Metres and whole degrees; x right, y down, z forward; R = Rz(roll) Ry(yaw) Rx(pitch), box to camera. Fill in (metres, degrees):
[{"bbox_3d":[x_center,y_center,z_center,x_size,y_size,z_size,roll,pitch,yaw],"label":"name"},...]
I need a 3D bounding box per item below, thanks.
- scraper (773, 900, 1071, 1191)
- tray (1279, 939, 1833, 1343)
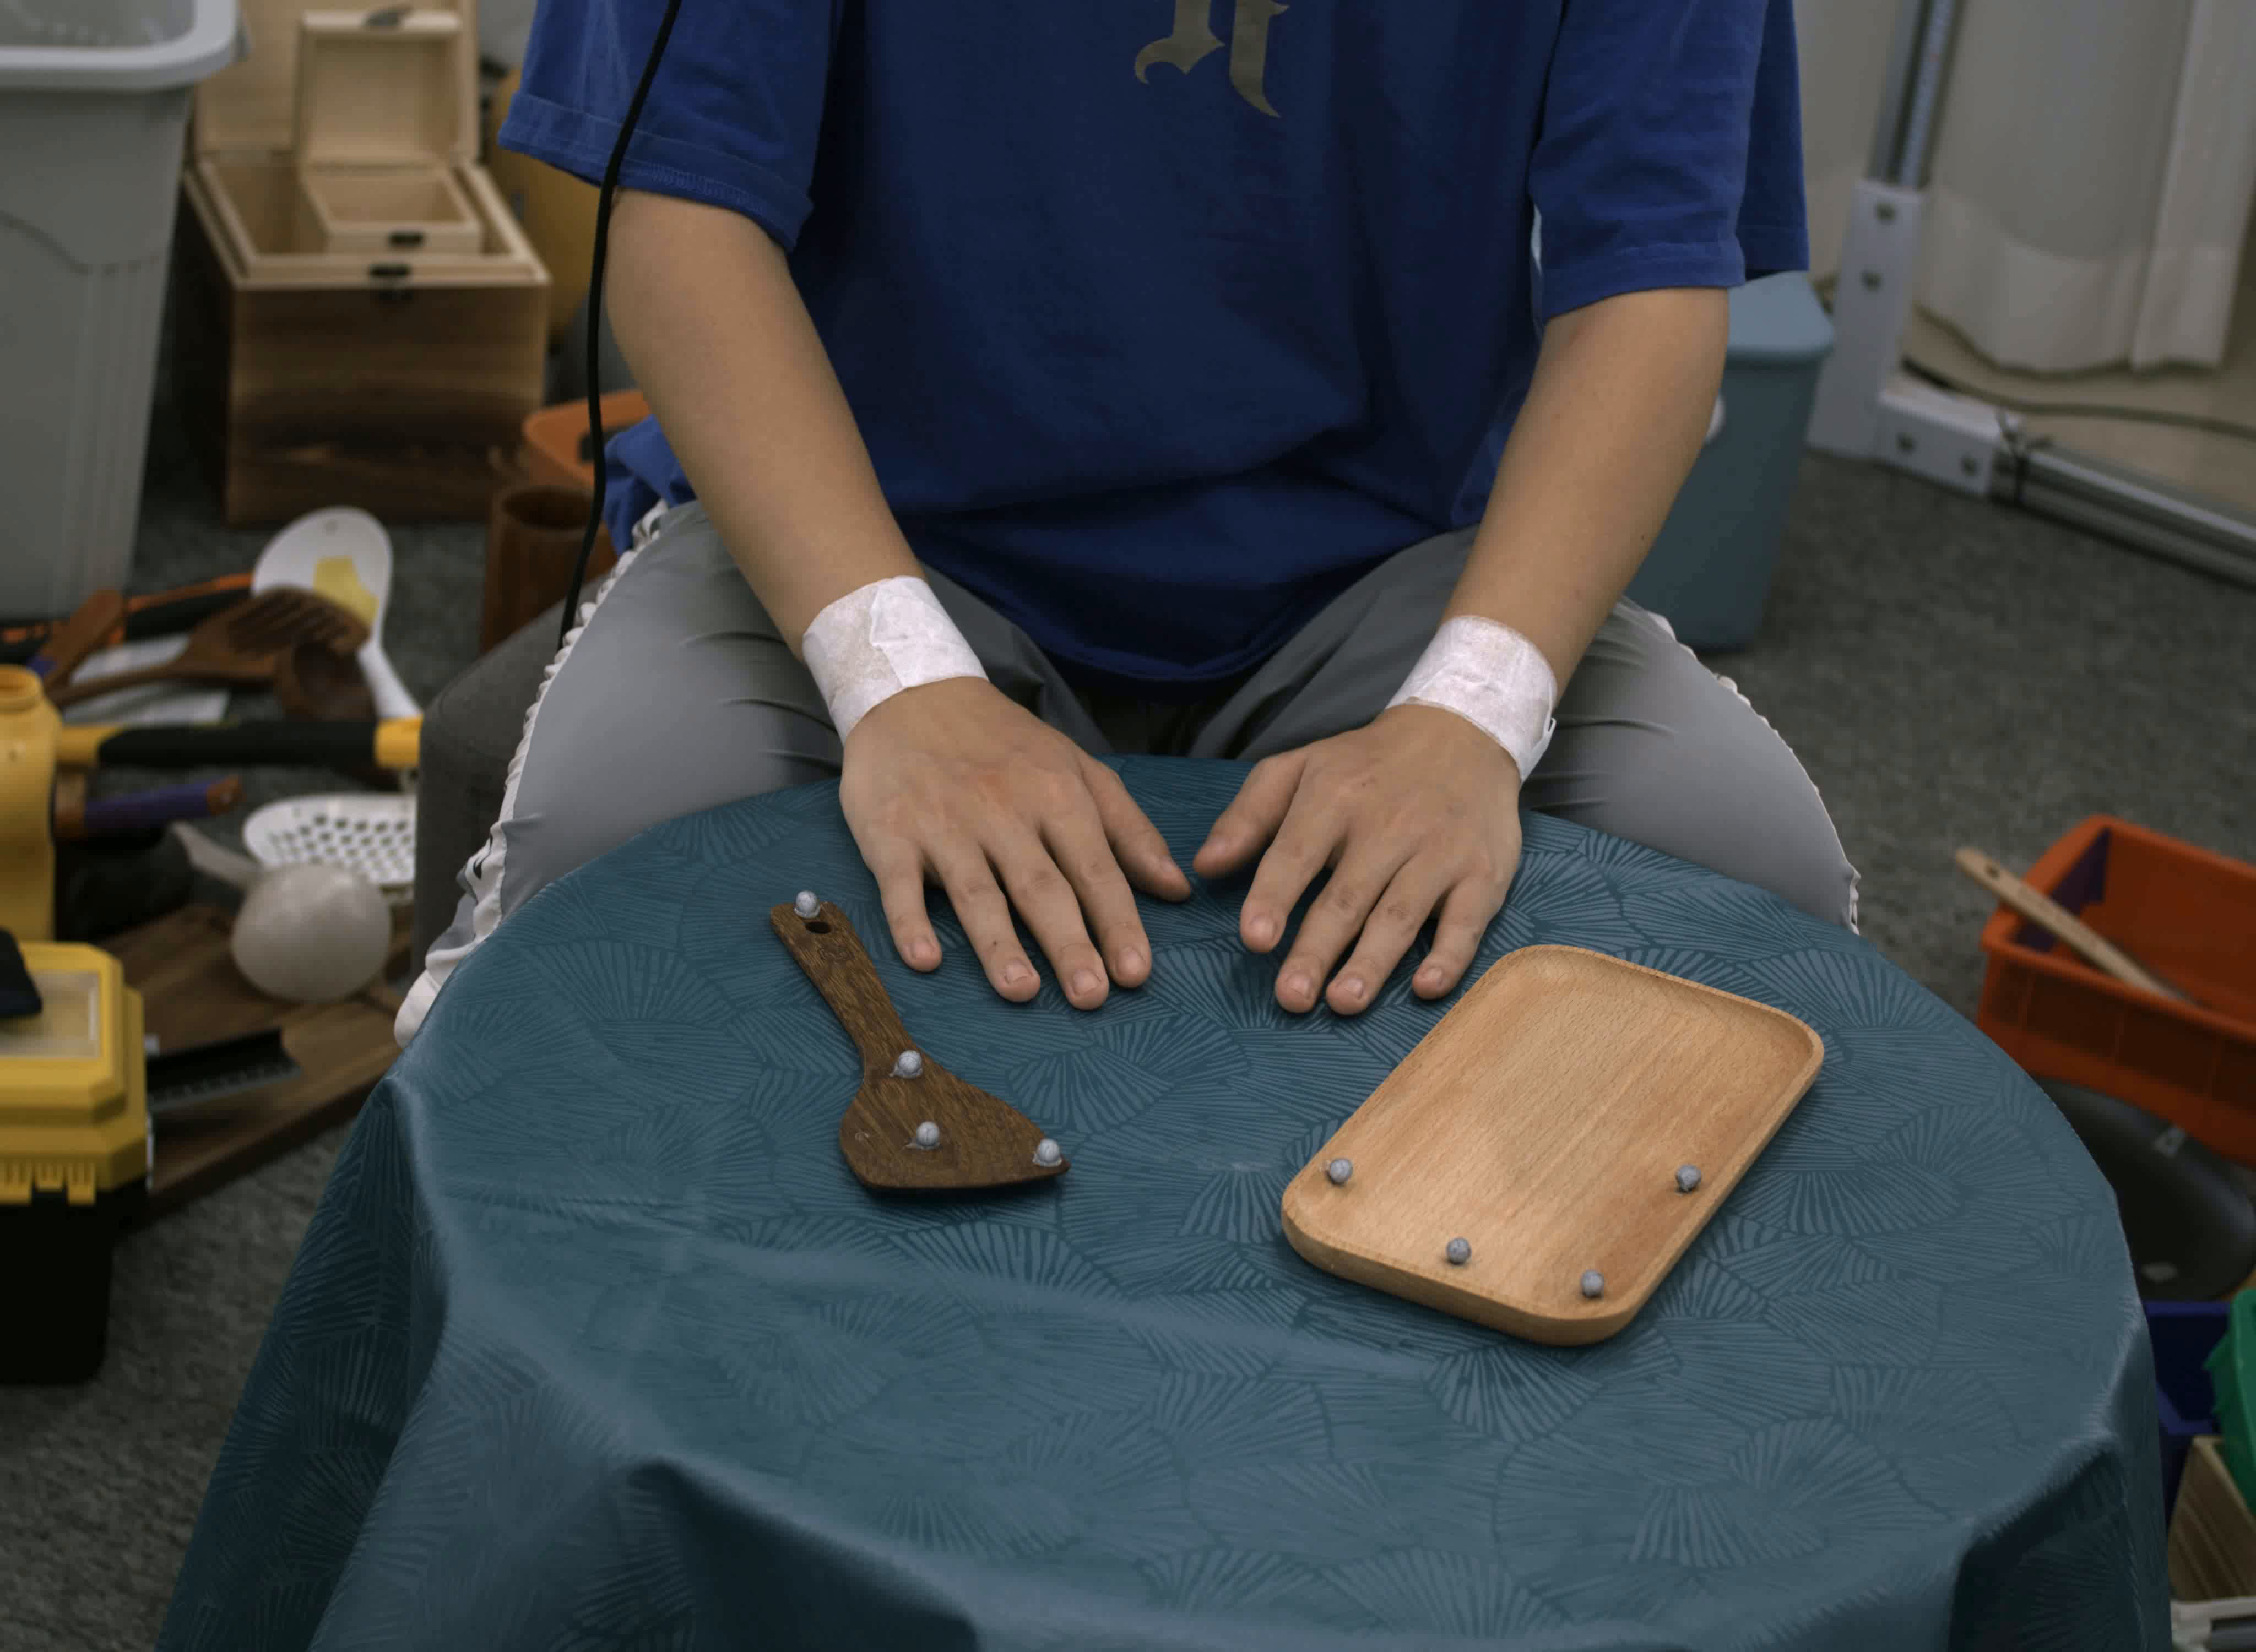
[{"bbox_3d":[-0.085,0.076,1.868,0.075,0.011,0.213,-3,27,-20],"label":"scraper"},{"bbox_3d":[0.151,0.107,1.852,0.131,0.023,0.250,20,29,20],"label":"tray"}]
